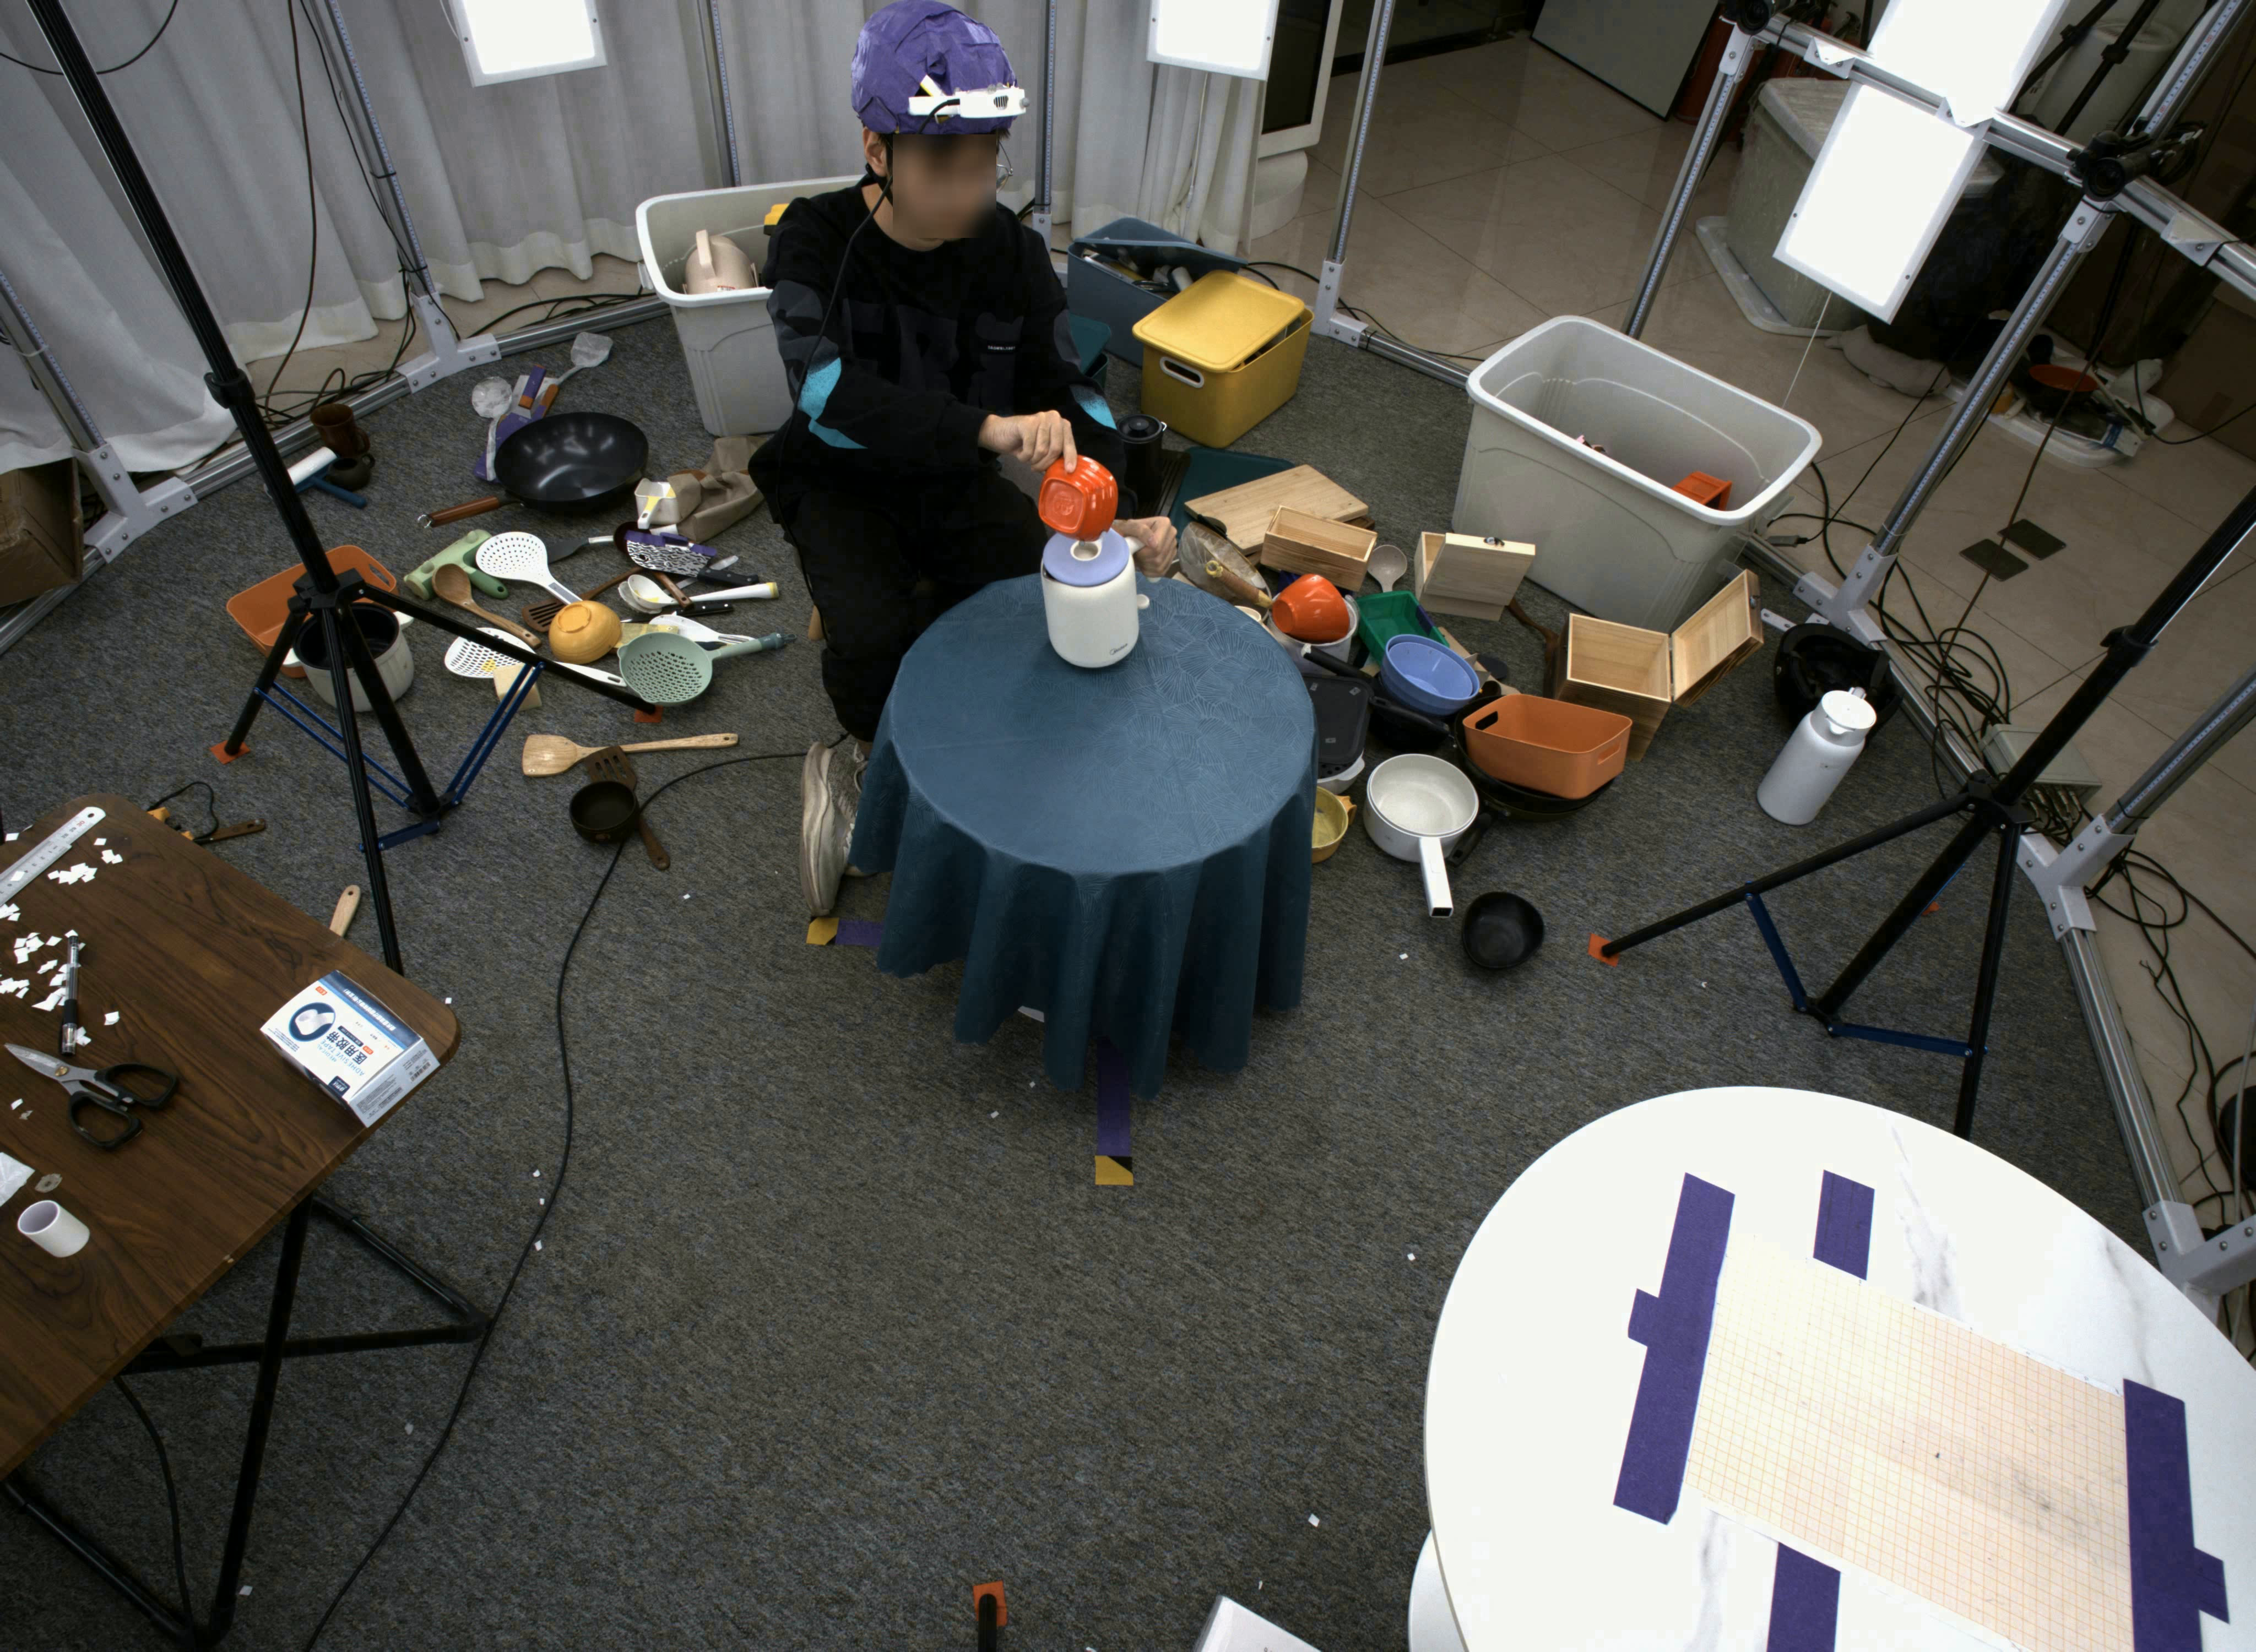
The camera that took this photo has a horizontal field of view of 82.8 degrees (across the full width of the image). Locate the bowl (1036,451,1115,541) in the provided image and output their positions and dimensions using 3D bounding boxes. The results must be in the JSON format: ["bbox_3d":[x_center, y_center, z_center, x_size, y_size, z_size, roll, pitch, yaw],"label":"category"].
[{"bbox_3d":[-0.076,-0.419,1.660,0.120,0.116,0.052,29,37,19],"label":"bowl"}]

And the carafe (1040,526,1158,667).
[{"bbox_3d":[-0.034,-0.338,1.825,0.192,0.178,0.134,-31,60,-20],"label":"carafe"}]
